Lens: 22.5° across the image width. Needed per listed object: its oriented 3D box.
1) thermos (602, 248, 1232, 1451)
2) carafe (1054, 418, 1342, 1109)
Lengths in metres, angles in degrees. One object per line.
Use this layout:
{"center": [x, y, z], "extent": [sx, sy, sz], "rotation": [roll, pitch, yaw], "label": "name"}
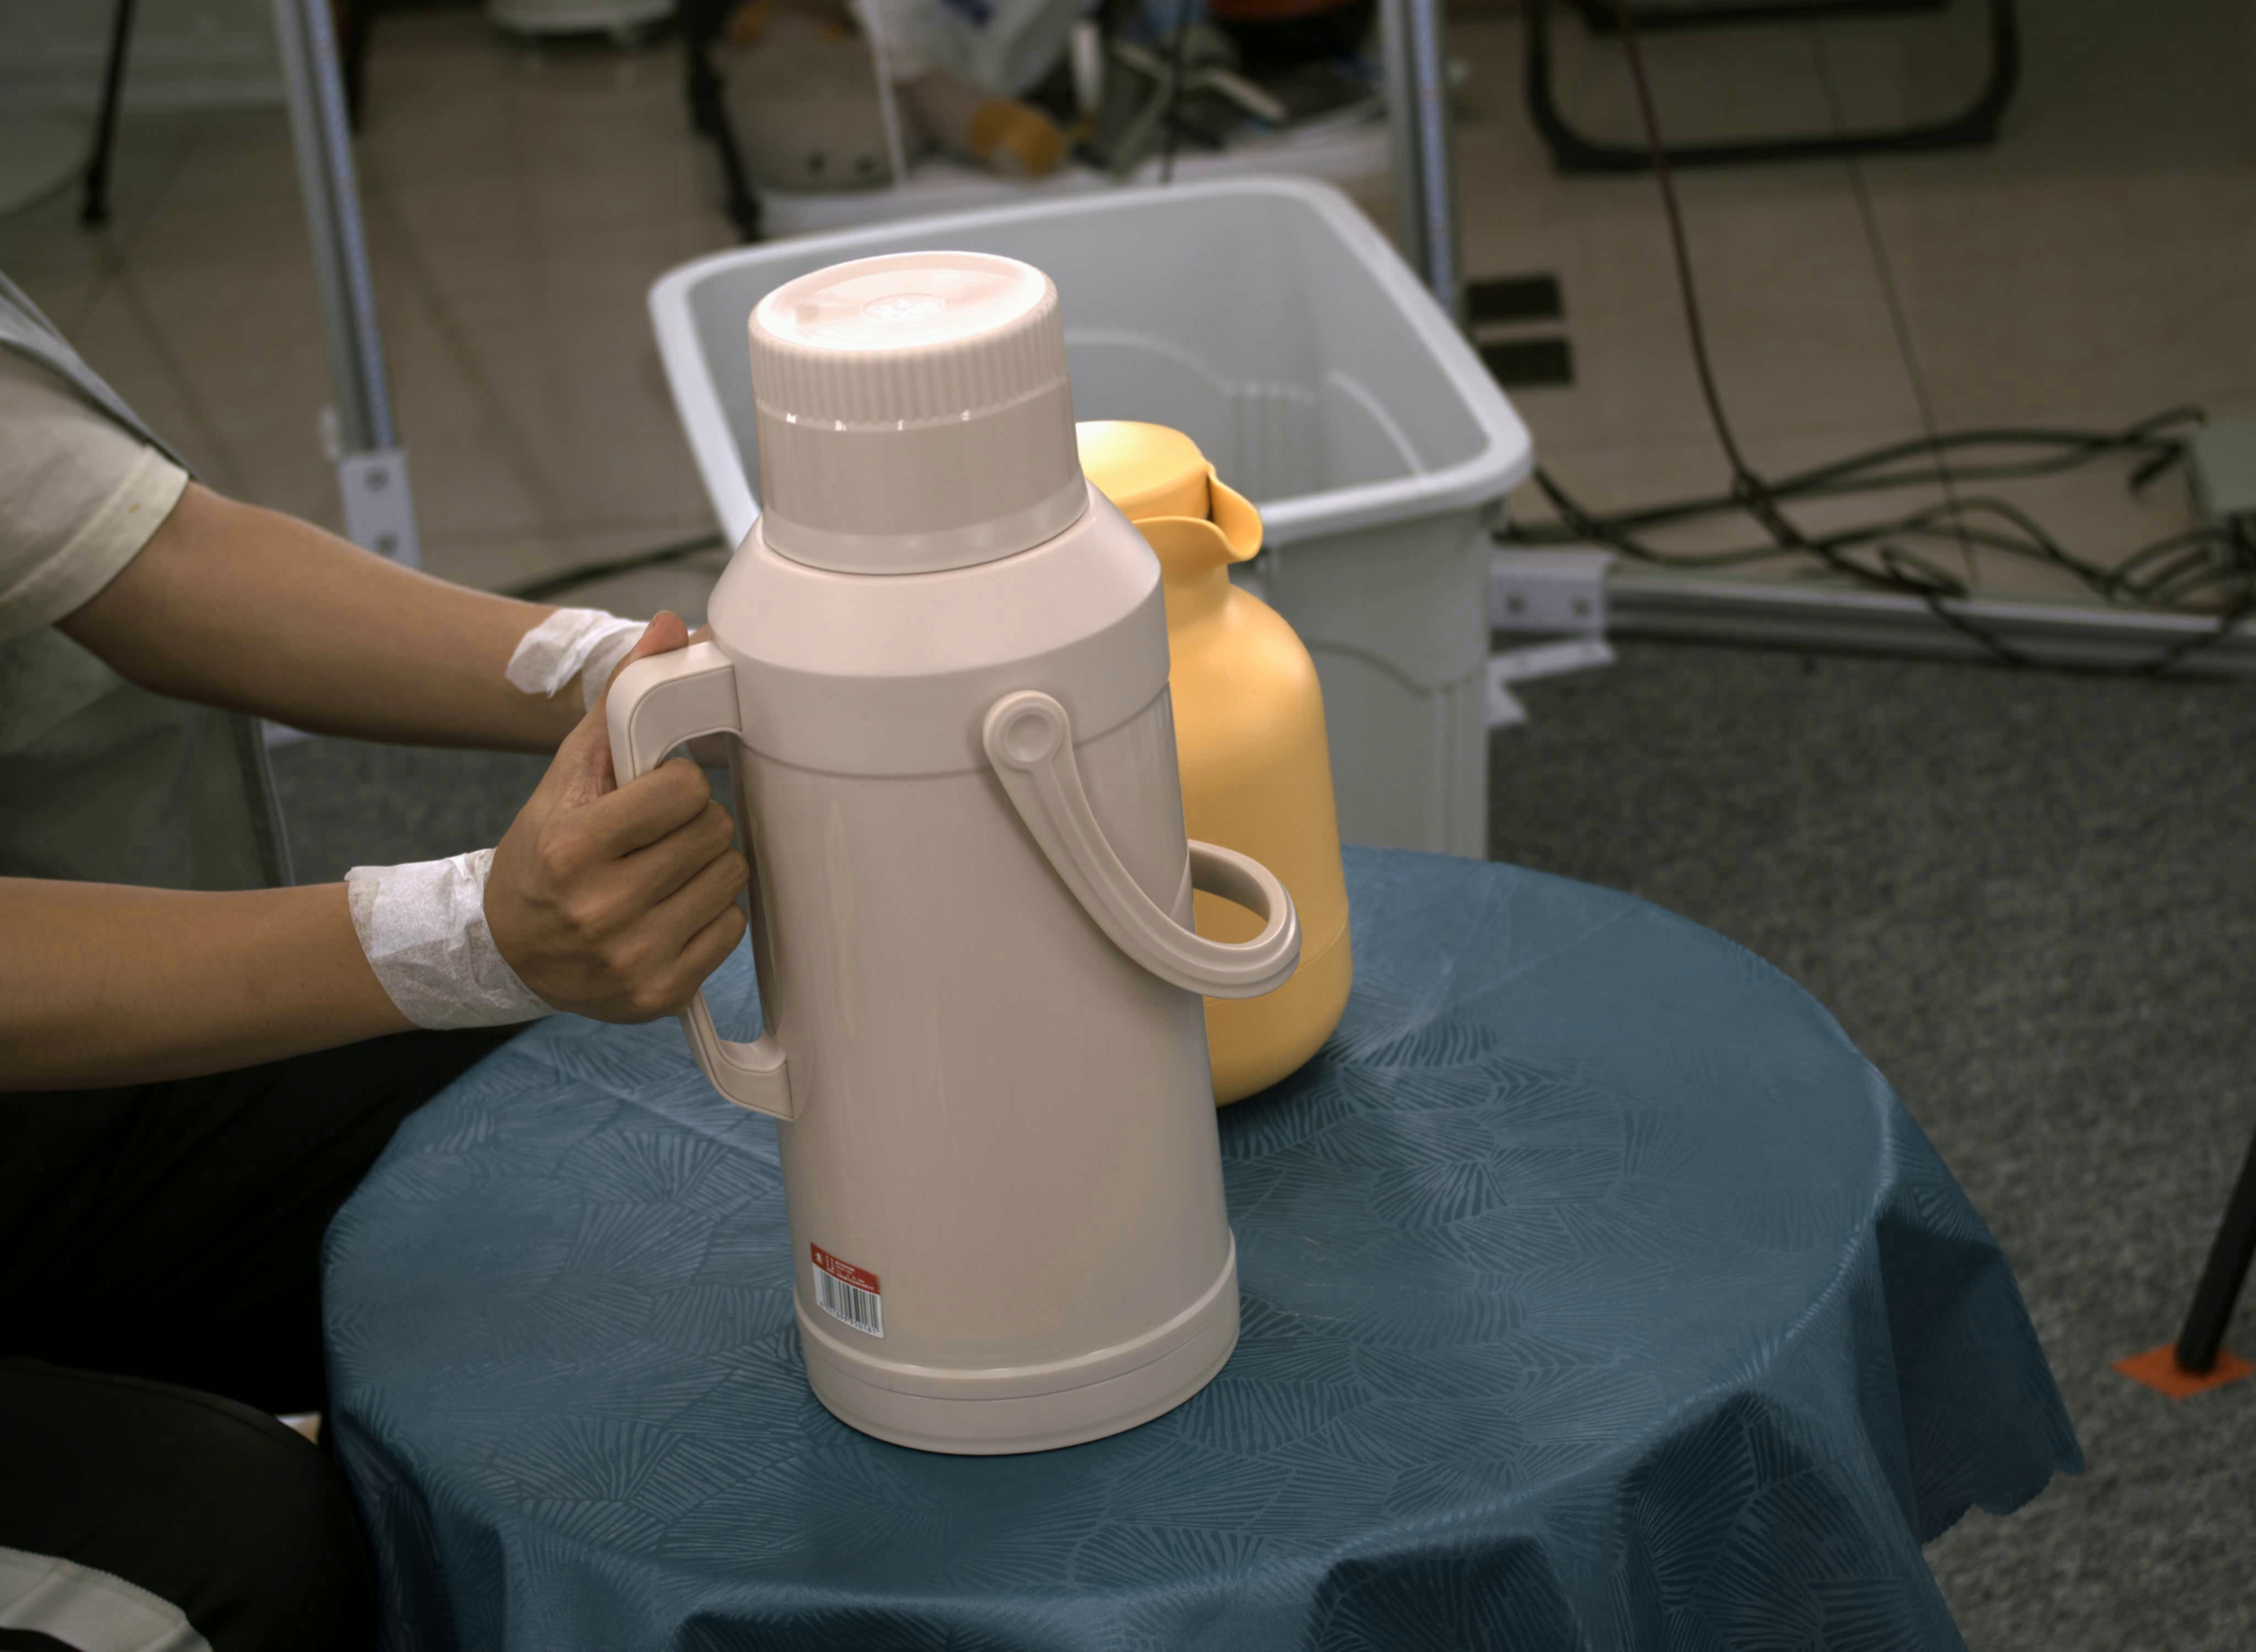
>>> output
{"center": [-0.072, 0.010, 1.966], "extent": [0.206, 0.413, 0.173], "rotation": [-14, 28, -17], "label": "thermos"}
{"center": [-0.018, -0.031, 2.206], "extent": [0.201, 0.264, 0.162], "rotation": [16, 31, 36], "label": "carafe"}
